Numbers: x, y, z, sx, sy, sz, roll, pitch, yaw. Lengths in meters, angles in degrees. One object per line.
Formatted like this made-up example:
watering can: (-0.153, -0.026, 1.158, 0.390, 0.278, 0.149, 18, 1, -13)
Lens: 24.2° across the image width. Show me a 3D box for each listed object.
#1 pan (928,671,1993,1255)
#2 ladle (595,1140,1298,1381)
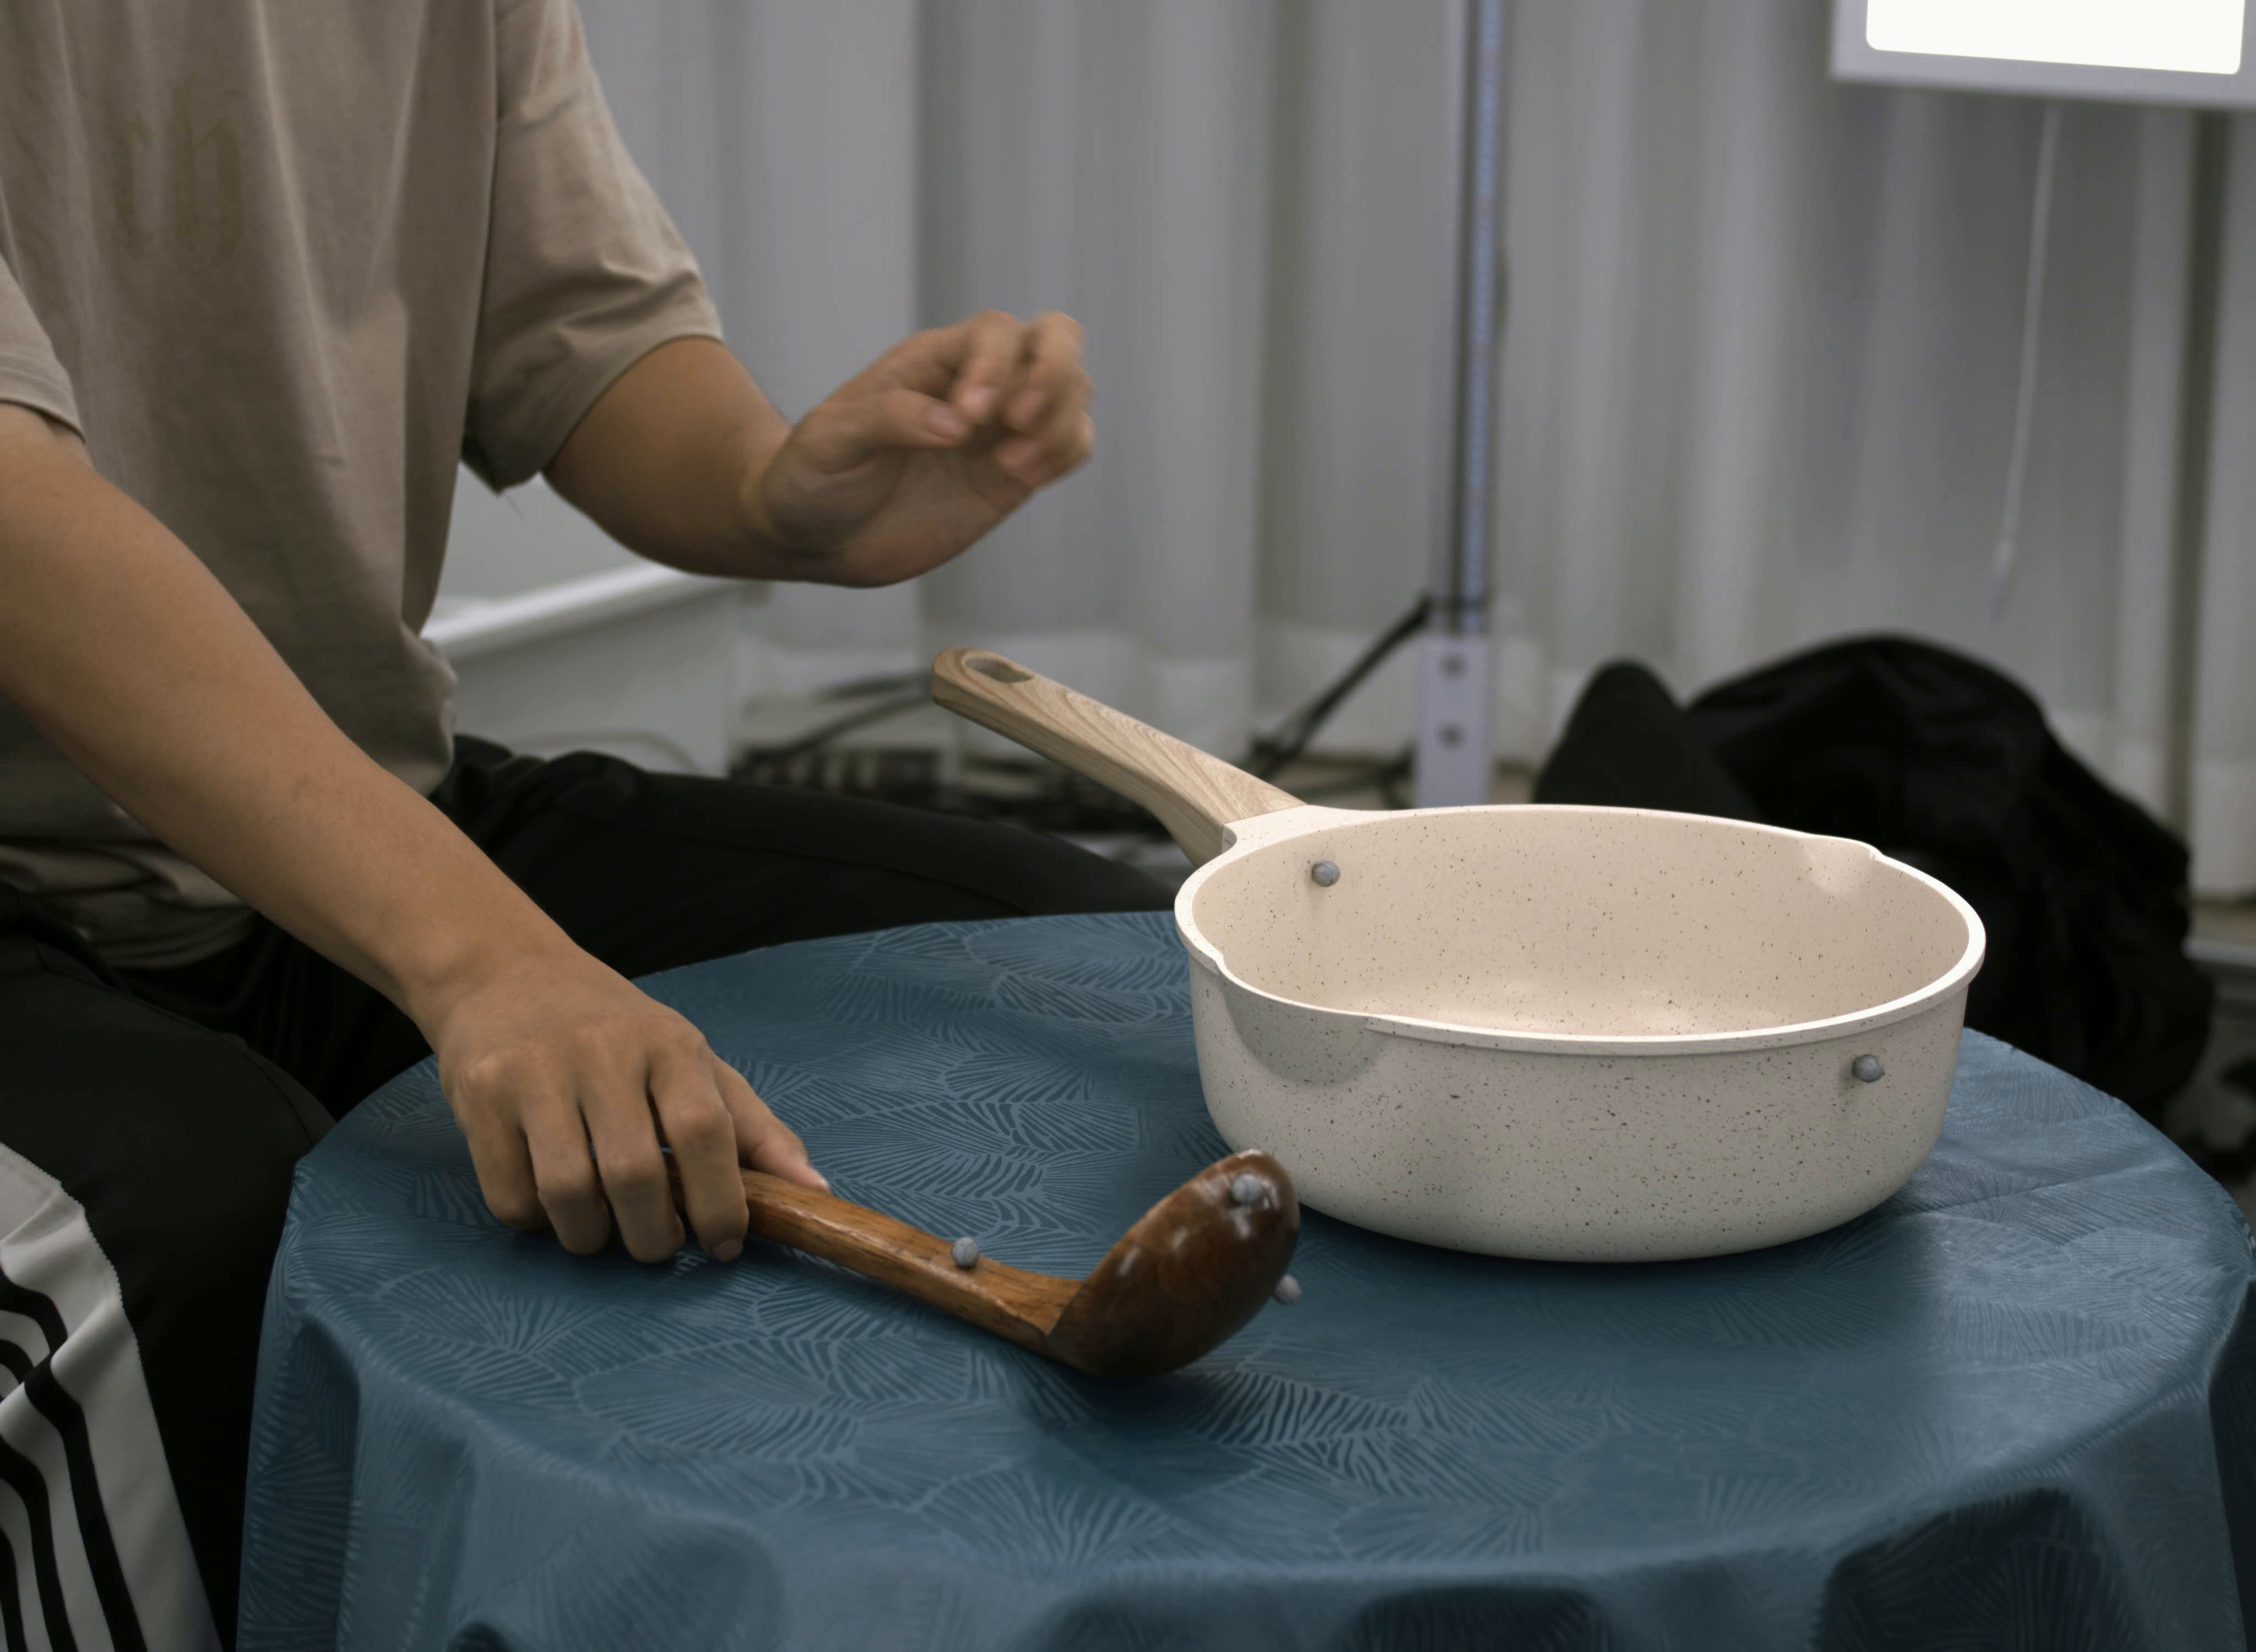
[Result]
pan: (0.083, 0.038, 1.714, 0.264, 0.103, 0.429, -15, 22, -39)
ladle: (-0.064, 0.101, 1.517, 0.270, 0.077, 0.082, 16, 25, 41)
